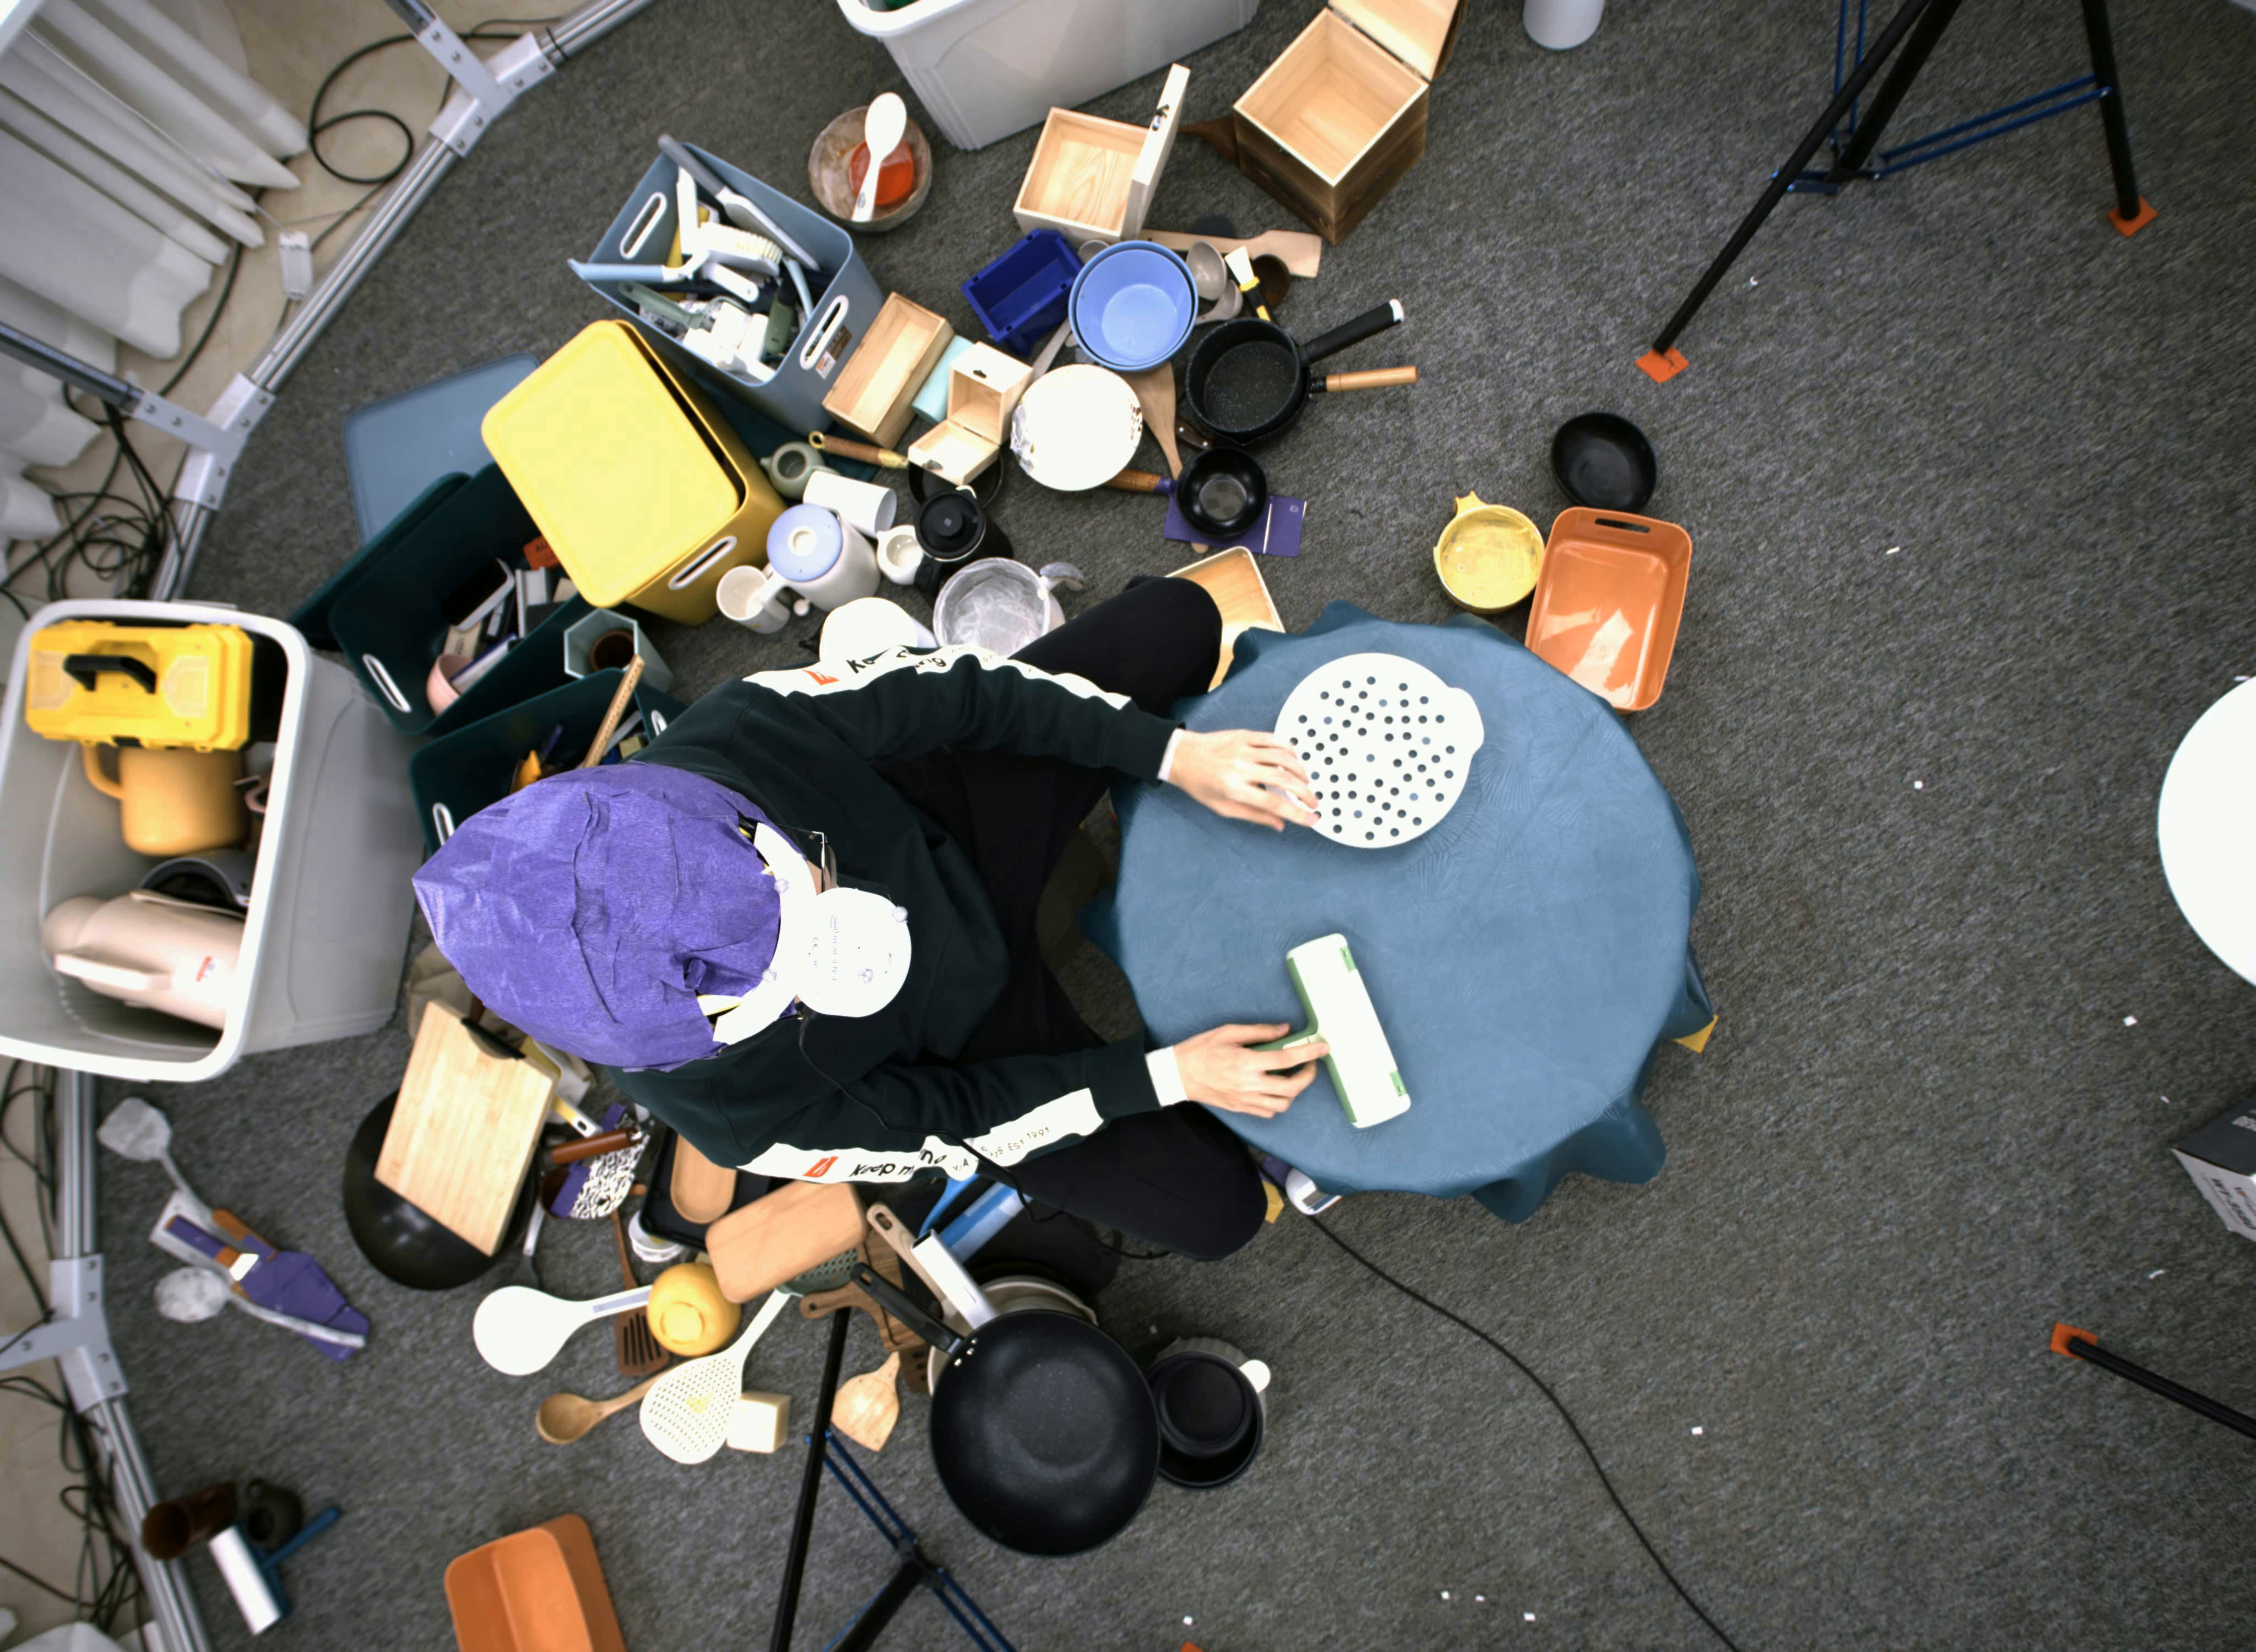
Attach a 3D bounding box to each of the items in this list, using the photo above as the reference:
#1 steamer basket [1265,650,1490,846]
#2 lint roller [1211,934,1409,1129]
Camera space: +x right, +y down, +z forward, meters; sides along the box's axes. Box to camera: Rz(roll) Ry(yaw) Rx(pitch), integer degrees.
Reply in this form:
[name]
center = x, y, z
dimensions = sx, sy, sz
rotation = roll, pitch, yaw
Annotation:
[steamer basket]
center = 0.258, -0.080, 1.430
dimensions = 0.231, 0.069, 0.201
rotation = -18, 85, 7
[lint roller]
center = 0.170, 0.230, 1.427
dimensions = 0.184, 0.082, 0.197
rotation = -21, 83, 5
